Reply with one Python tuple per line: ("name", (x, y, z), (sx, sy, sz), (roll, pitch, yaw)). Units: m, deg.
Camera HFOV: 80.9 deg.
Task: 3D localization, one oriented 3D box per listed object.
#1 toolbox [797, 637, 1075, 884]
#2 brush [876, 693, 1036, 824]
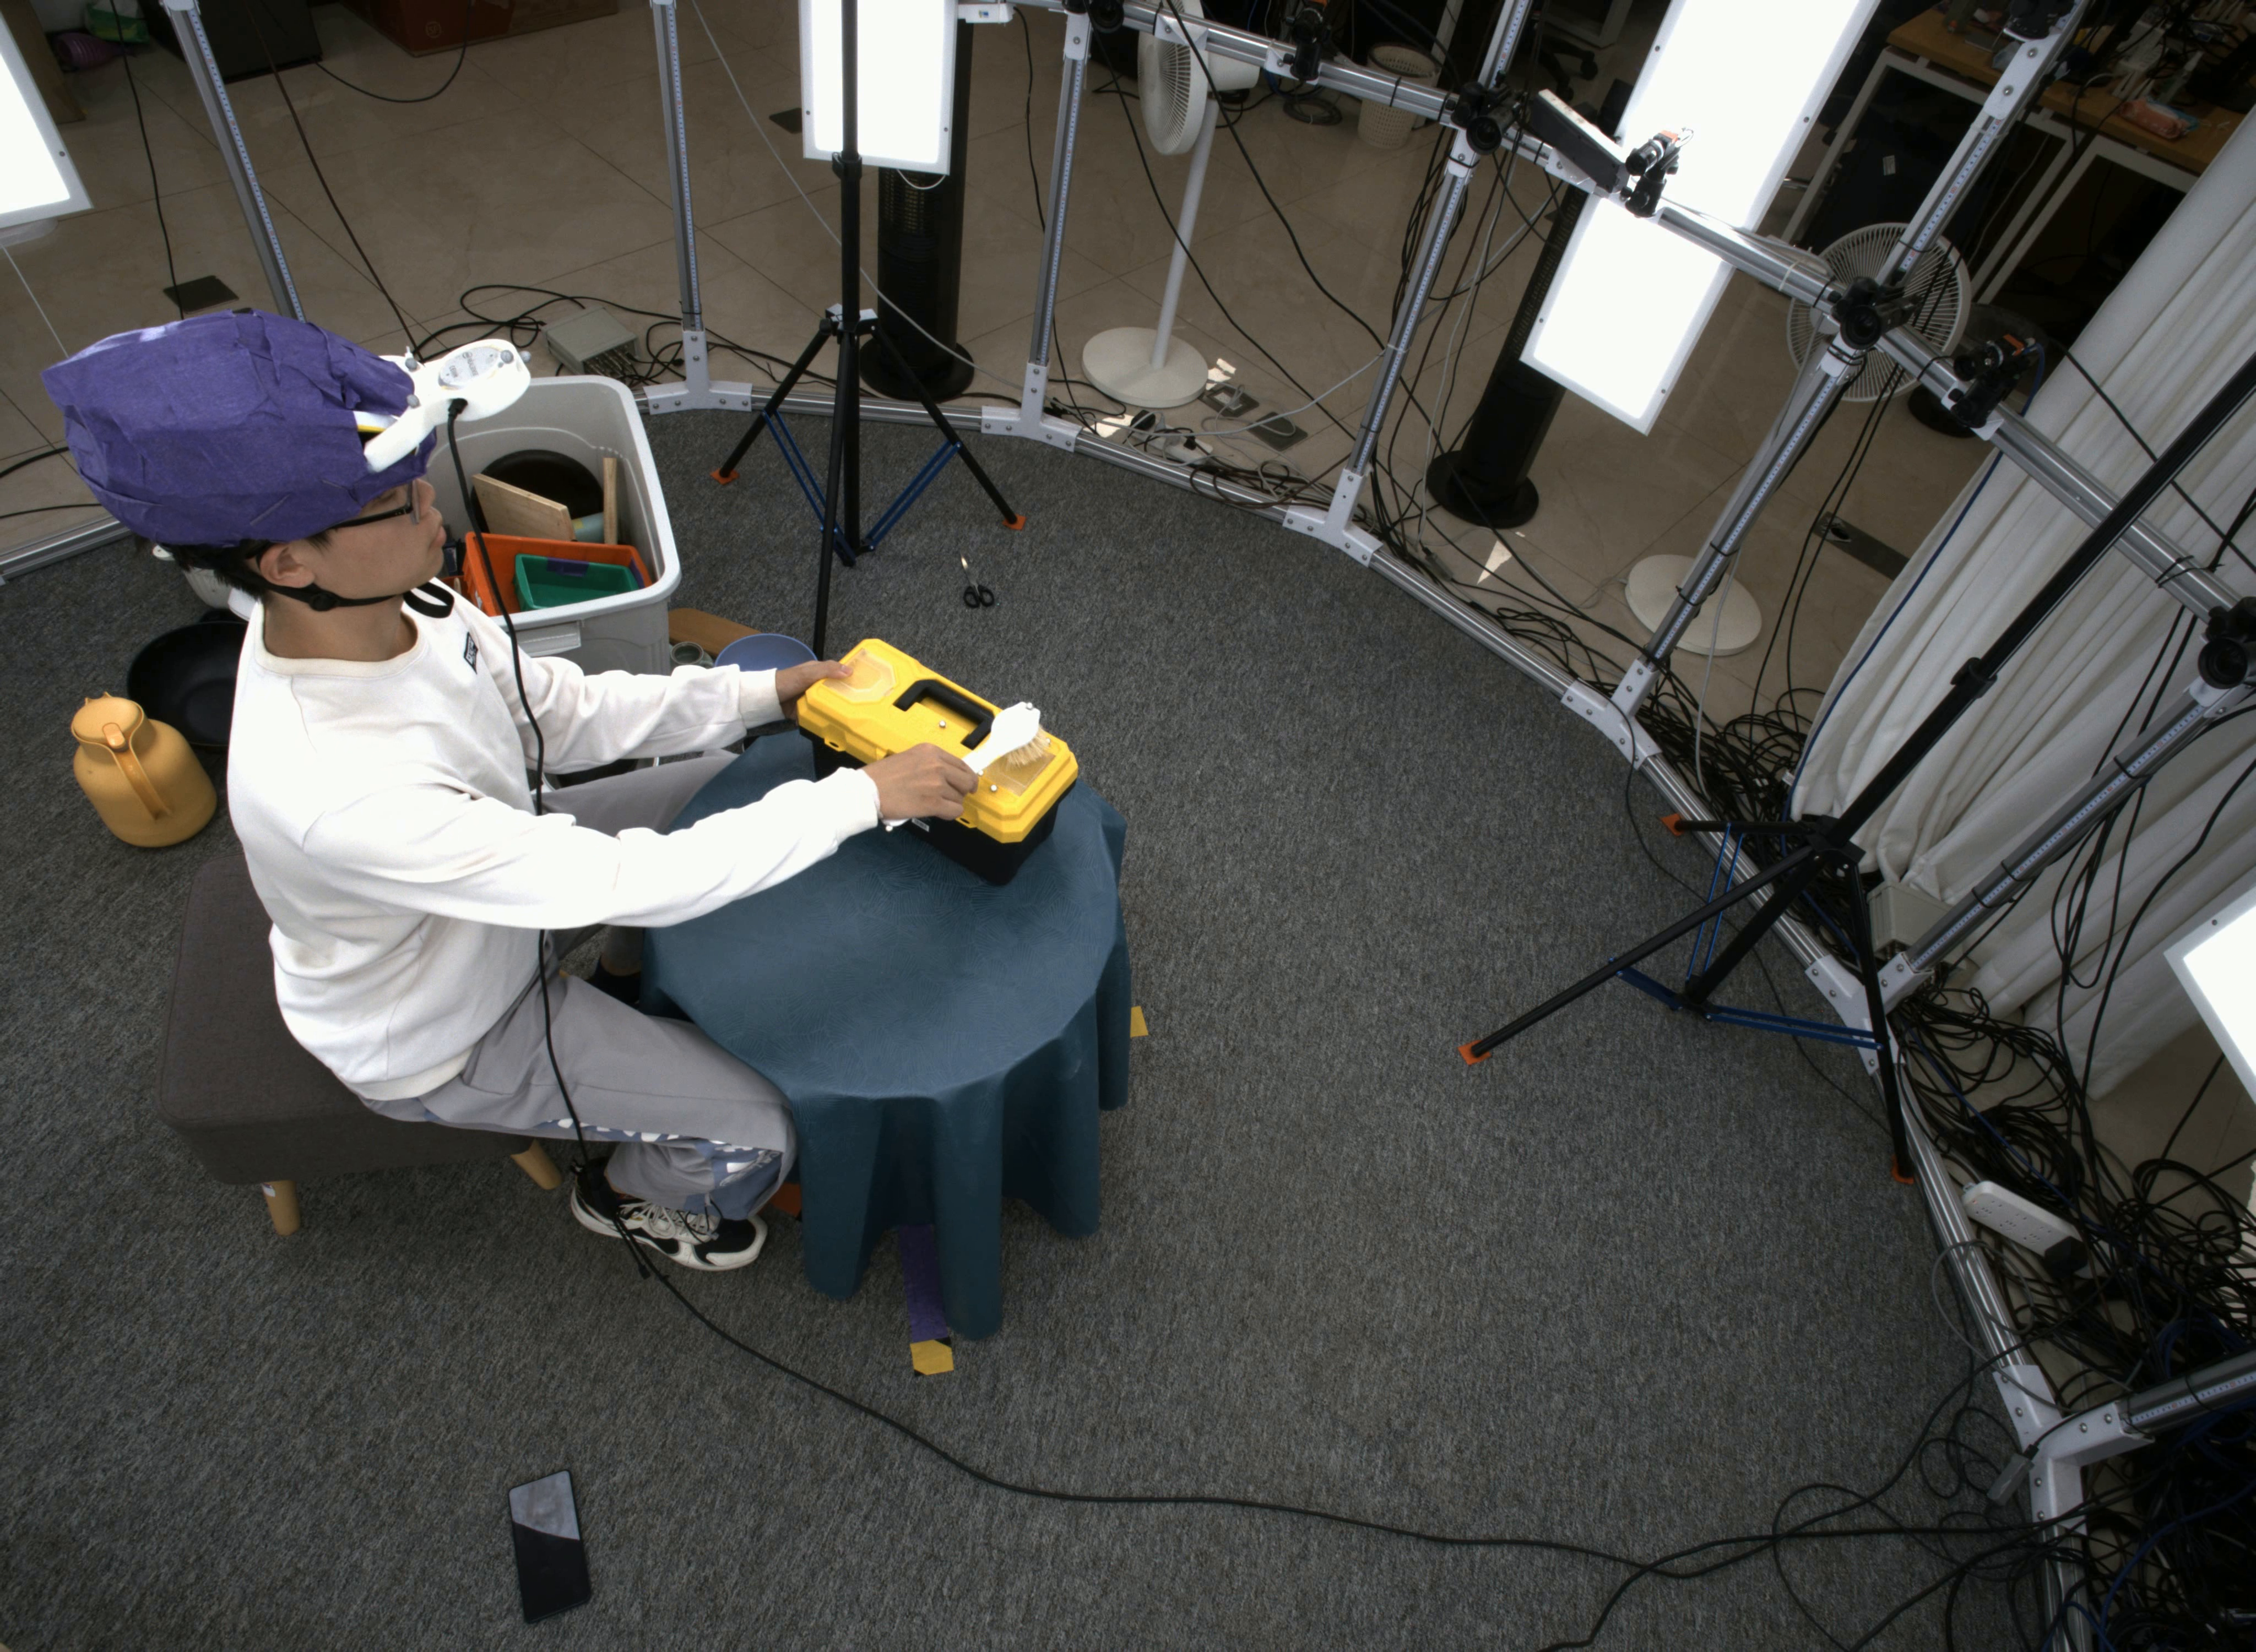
("toolbox", (-0.257, -0.084, 1.725), (0.345, 0.176, 0.181), (29, 52, 11))
("brush", (-0.207, -0.068, 1.573), (0.066, 0.058, 0.266), (21, 49, 27))
